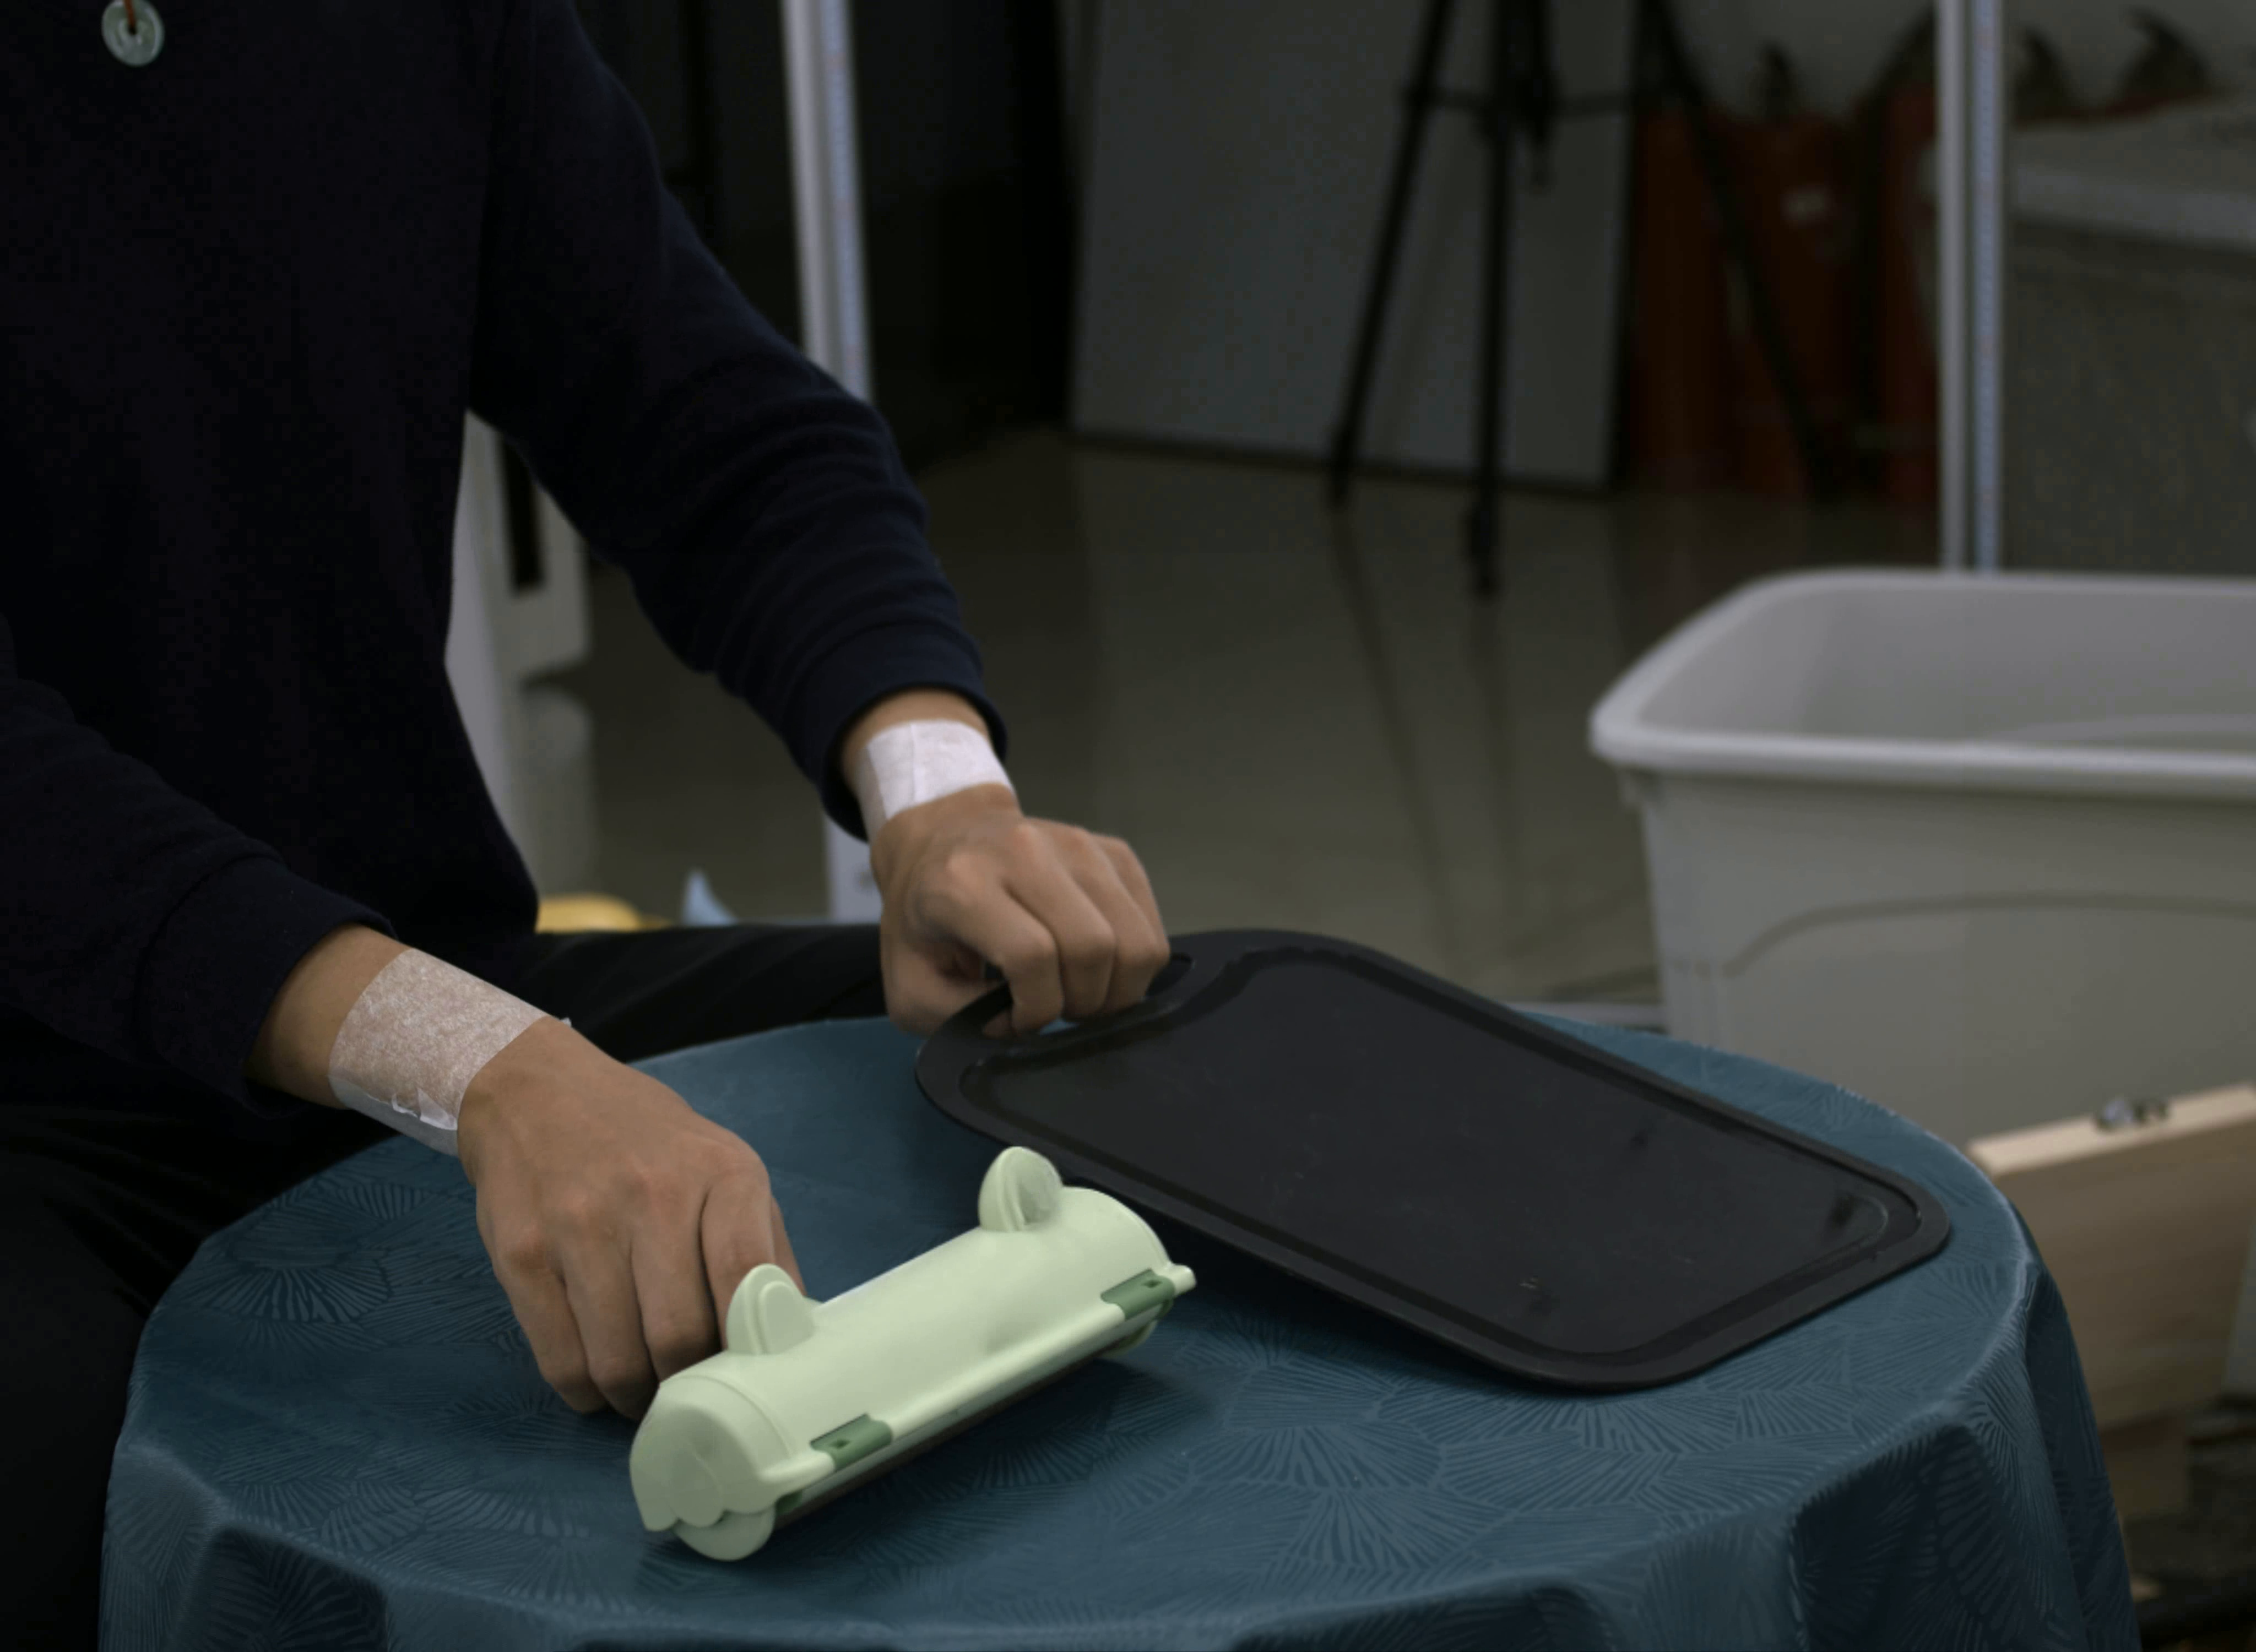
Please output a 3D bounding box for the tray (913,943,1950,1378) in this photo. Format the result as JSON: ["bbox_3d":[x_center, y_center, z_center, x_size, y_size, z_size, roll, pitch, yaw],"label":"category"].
[{"bbox_3d":[0.087,0.098,1.710,0.328,0.010,0.207,21,27,39],"label":"tray"}]

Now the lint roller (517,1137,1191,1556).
[{"bbox_3d":[-0.106,0.129,1.566,0.184,0.083,0.195,21,25,33],"label":"lint roller"}]
